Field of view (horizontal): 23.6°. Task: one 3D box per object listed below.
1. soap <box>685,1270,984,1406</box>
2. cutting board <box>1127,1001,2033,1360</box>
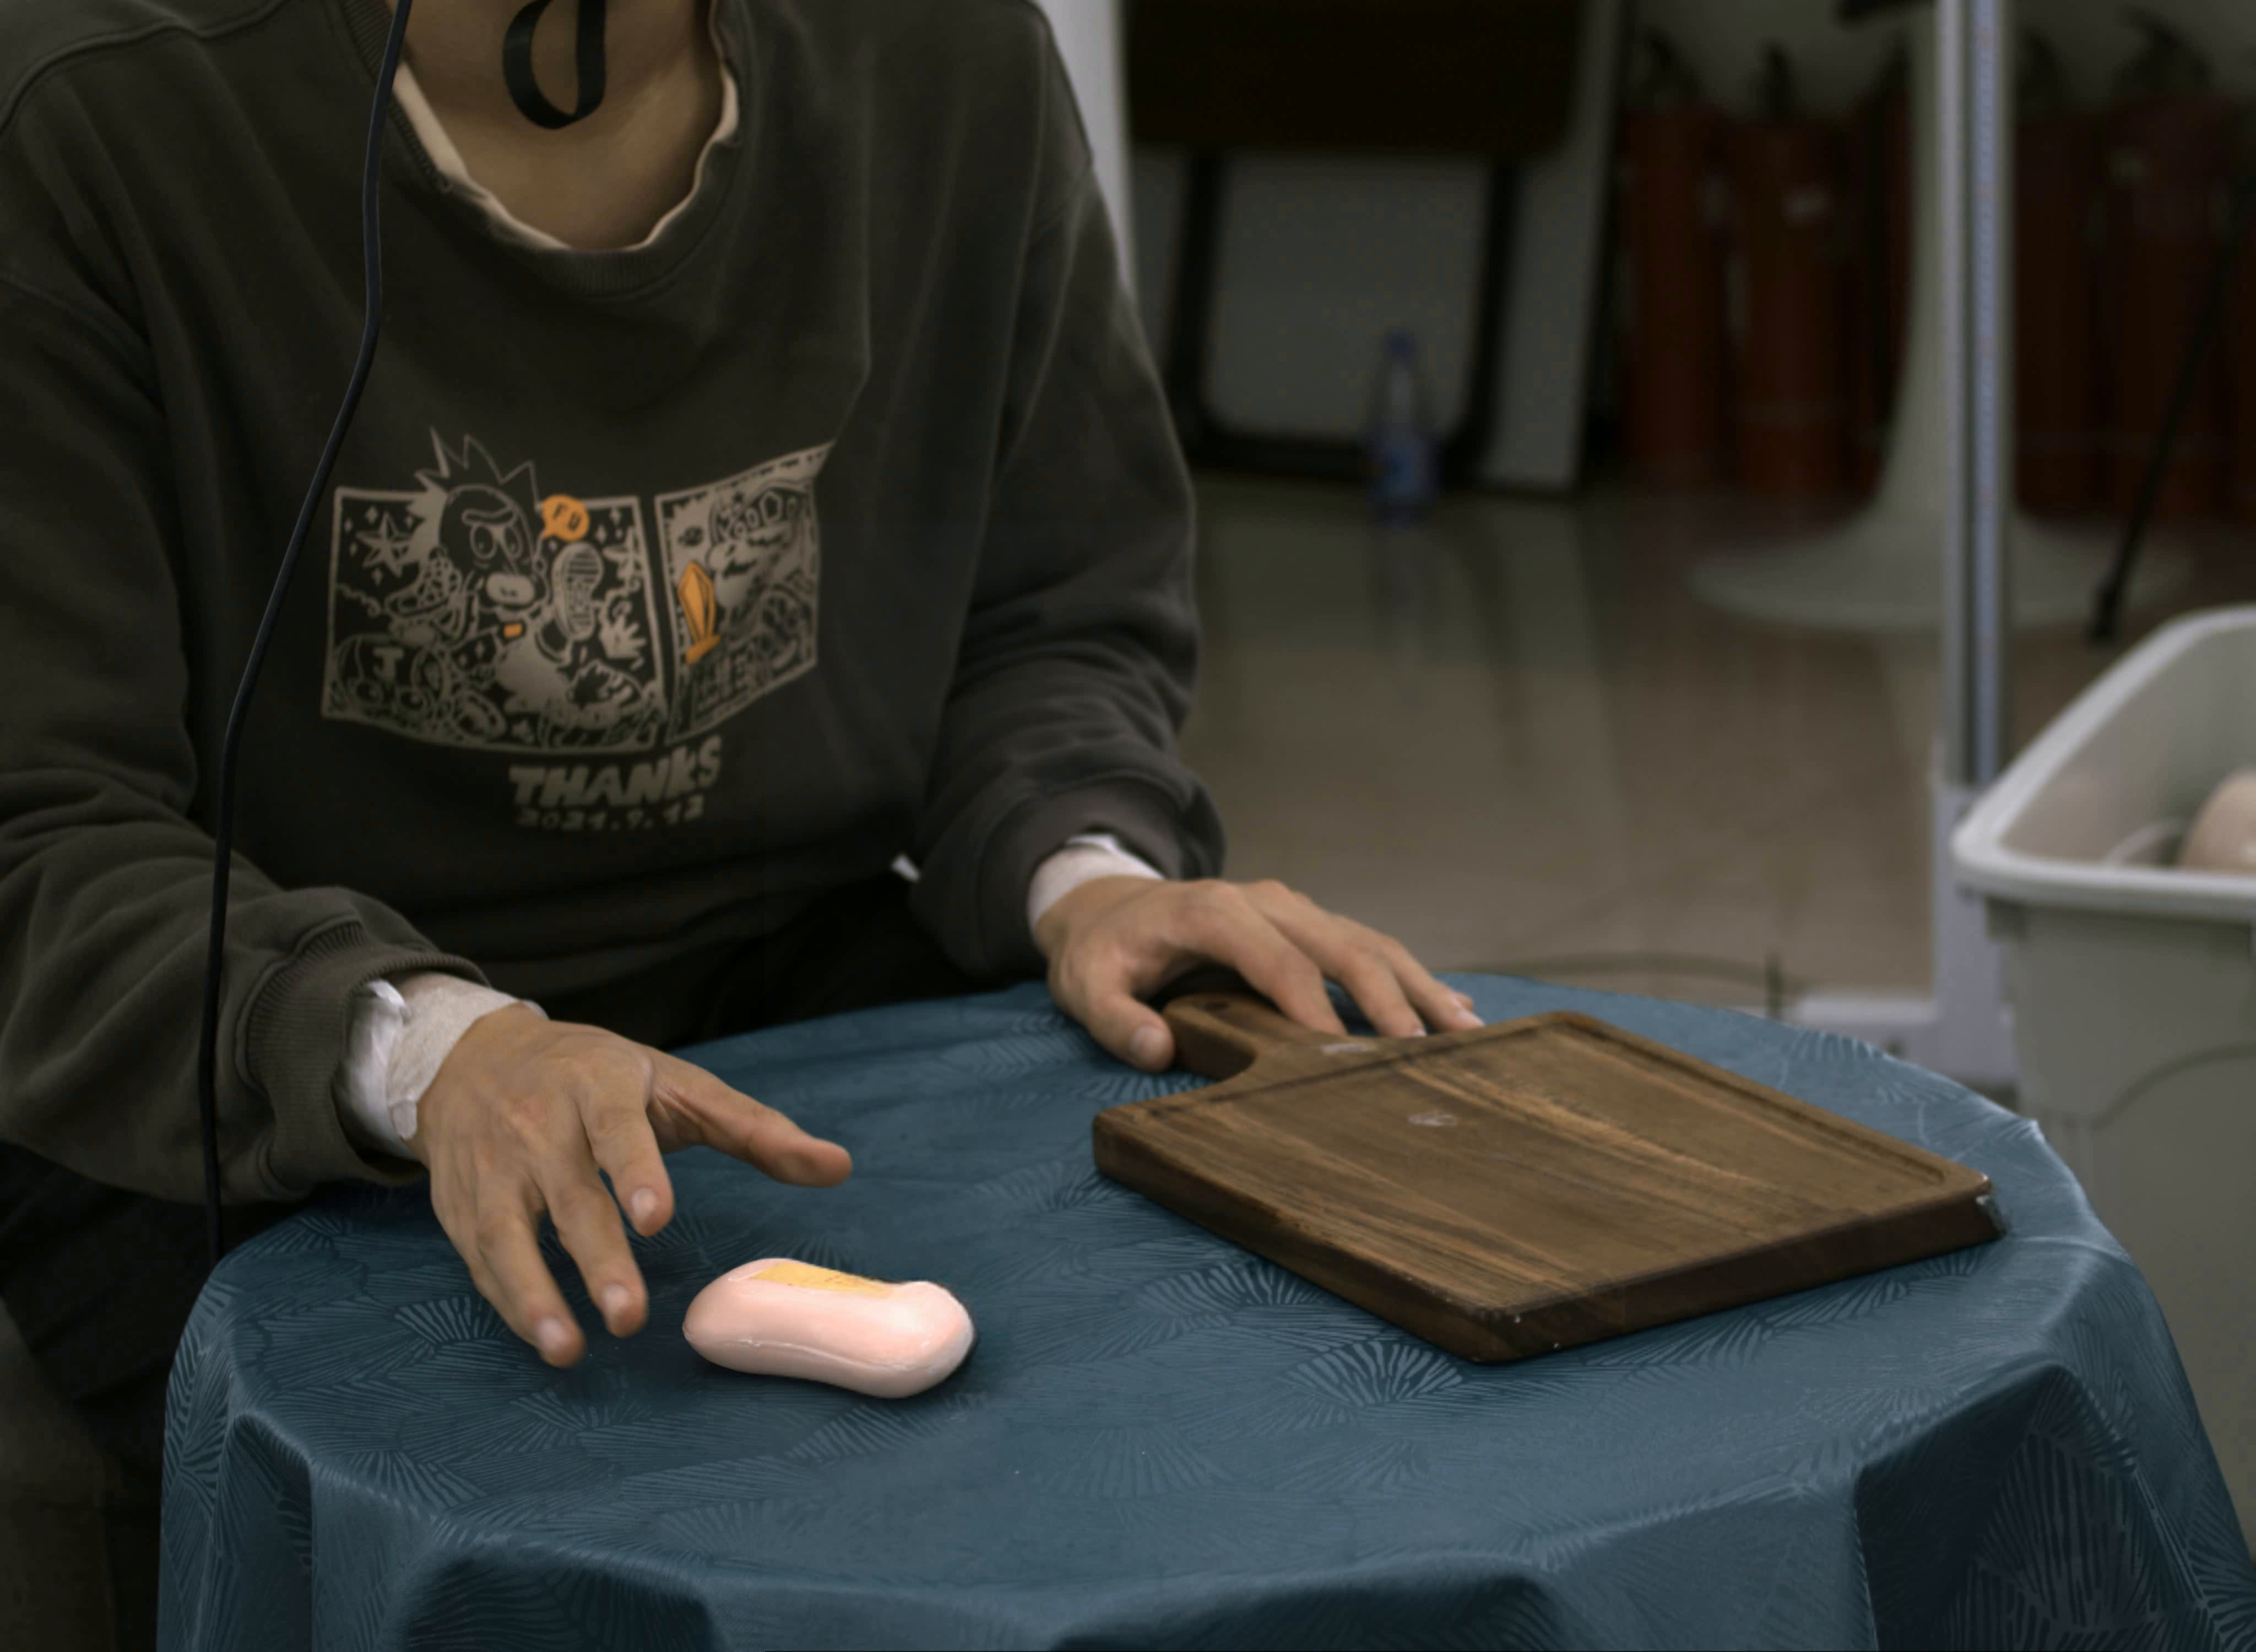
[{"bbox_3d":[-0.088,0.153,1.615,0.095,0.031,0.049,4,15,36],"label":"soap"},{"bbox_3d":[0.118,0.103,1.774,0.197,0.023,0.356,-11,15,-25],"label":"cutting board"}]
